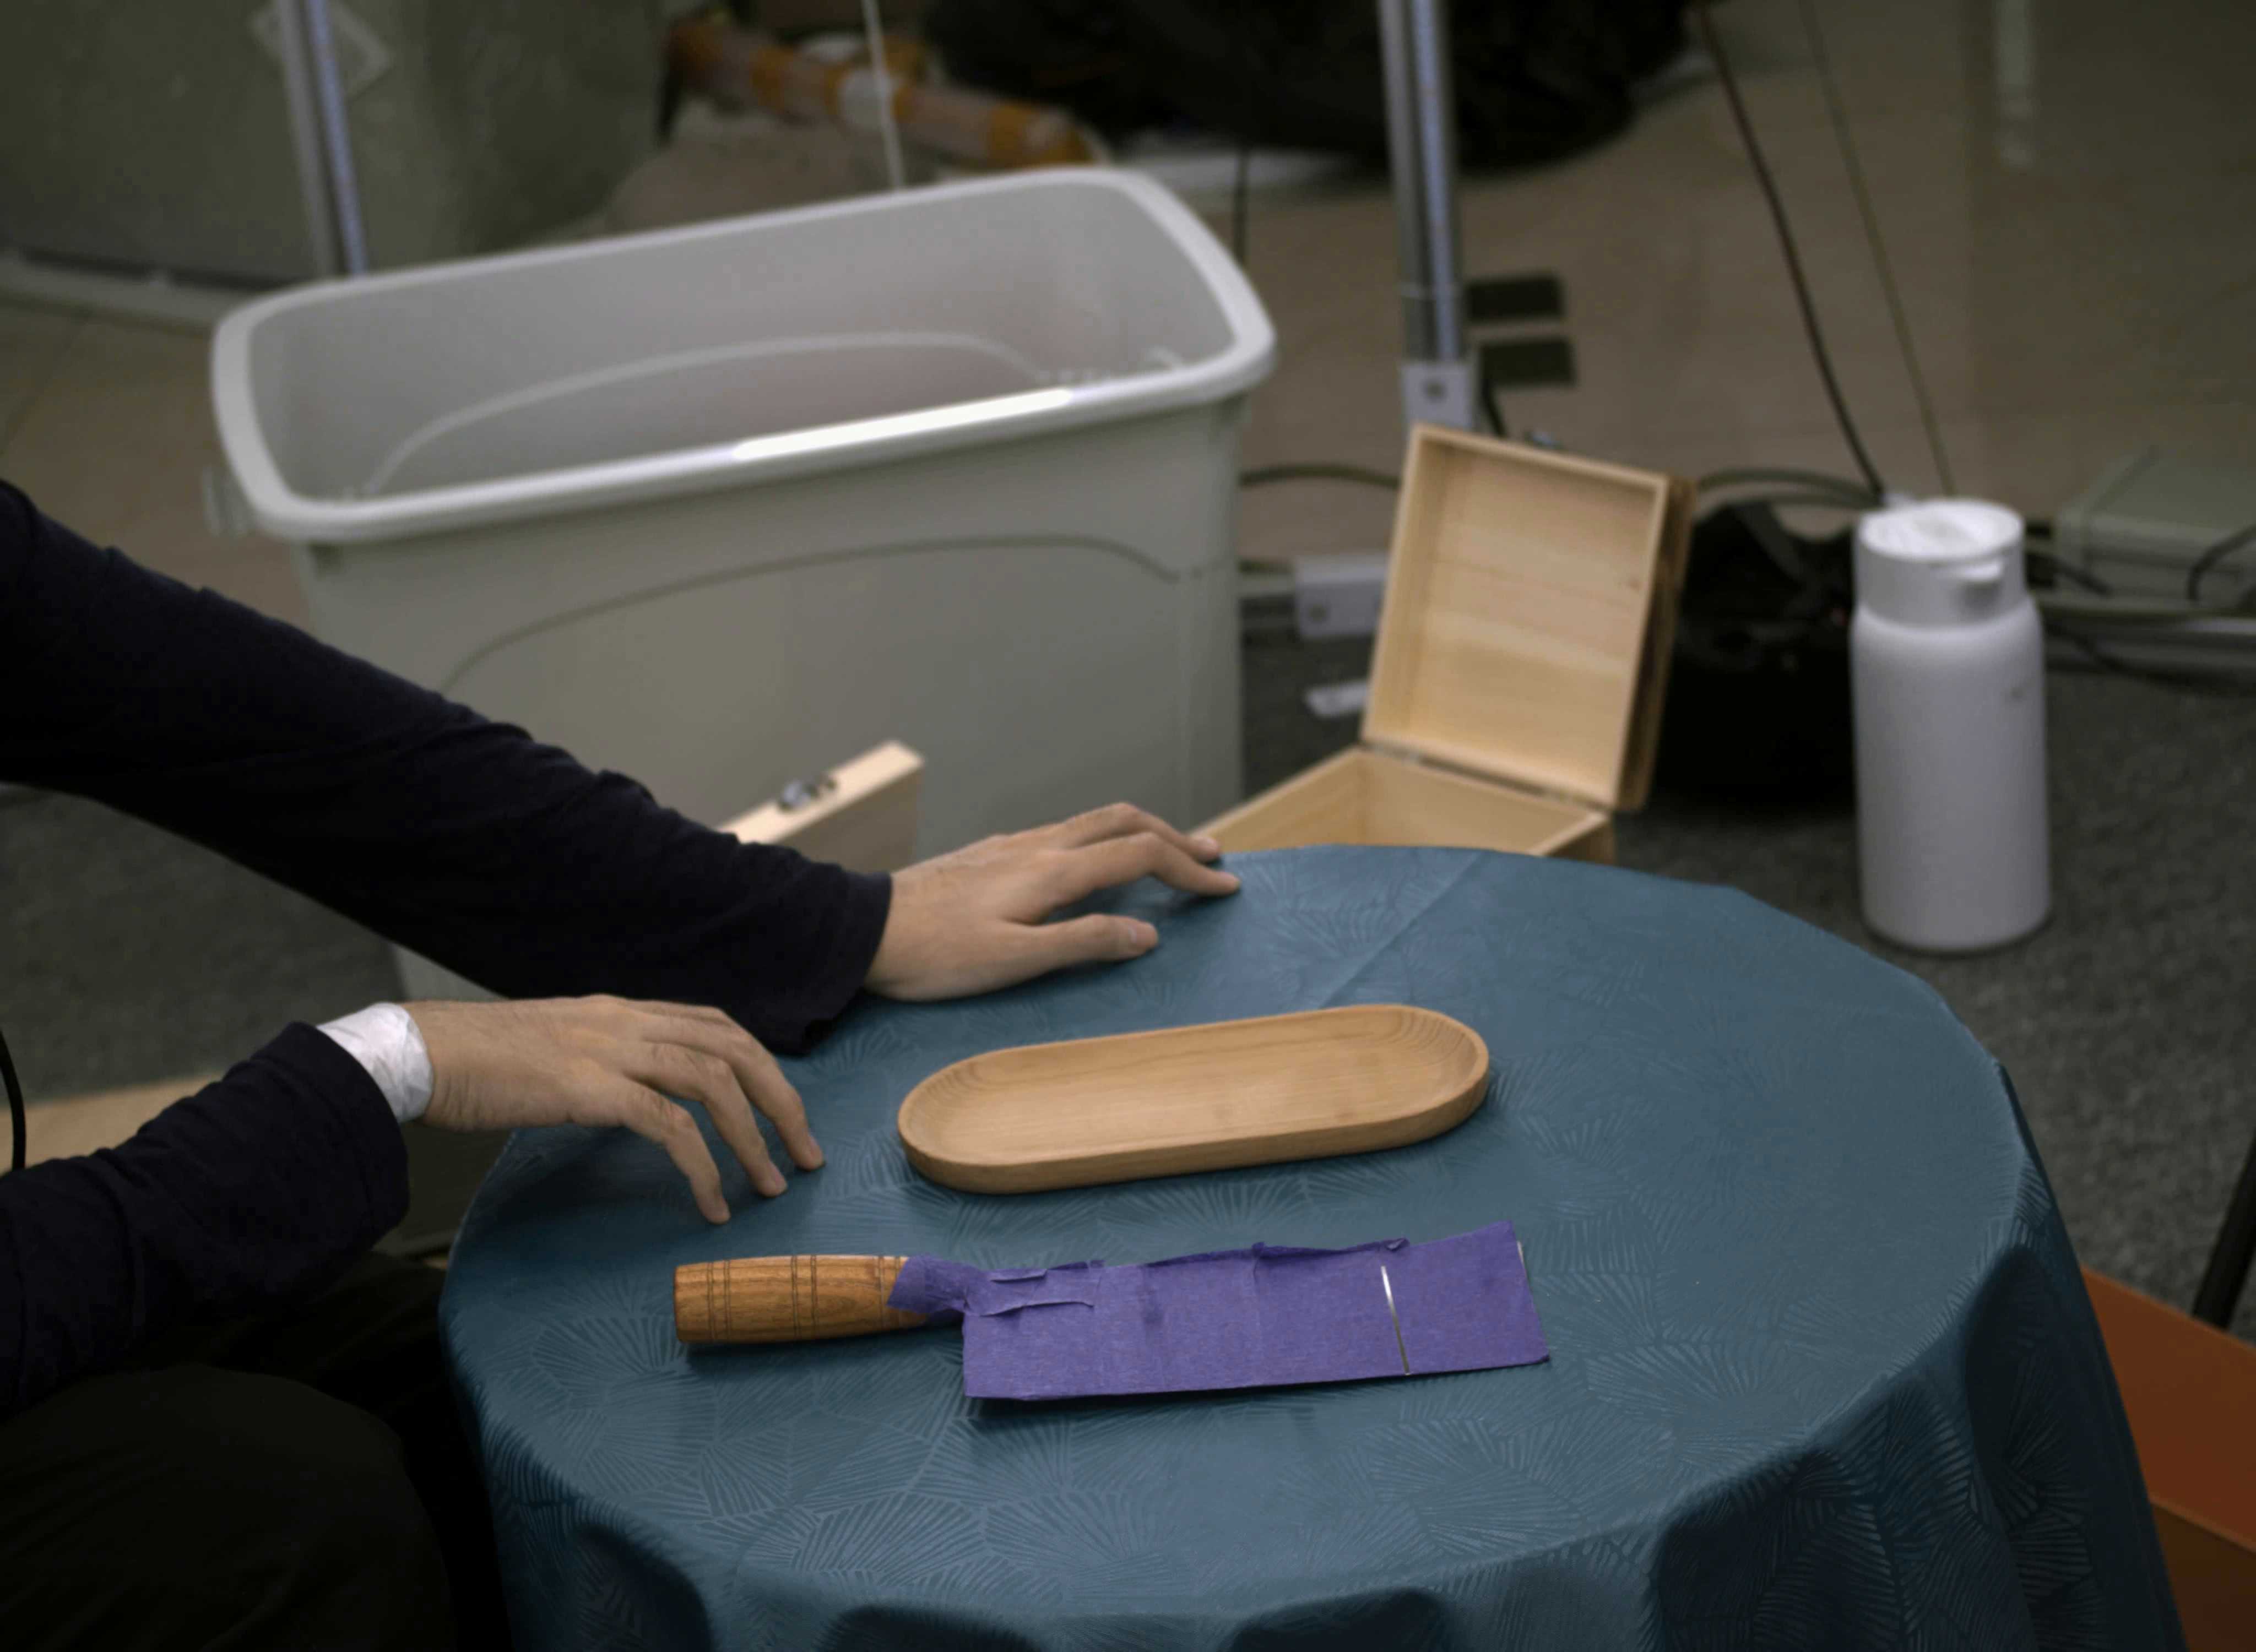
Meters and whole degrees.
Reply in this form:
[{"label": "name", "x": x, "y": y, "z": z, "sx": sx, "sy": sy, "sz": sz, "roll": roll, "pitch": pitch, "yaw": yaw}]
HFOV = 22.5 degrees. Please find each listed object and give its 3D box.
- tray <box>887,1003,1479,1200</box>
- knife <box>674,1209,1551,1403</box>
[{"label": "tray", "x": 0.022, "y": 0.107, "z": 2.196, "sx": 0.231, "sy": 0.020, "sz": 0.100, "roll": -9, "pitch": 24, "yaw": -1}, {"label": "knife", "x": -0.008, "y": 0.176, "z": 2.042, "sx": 0.315, "sy": 0.033, "sz": 0.102, "roll": -6, "pitch": 25, "yaw": 0}]
